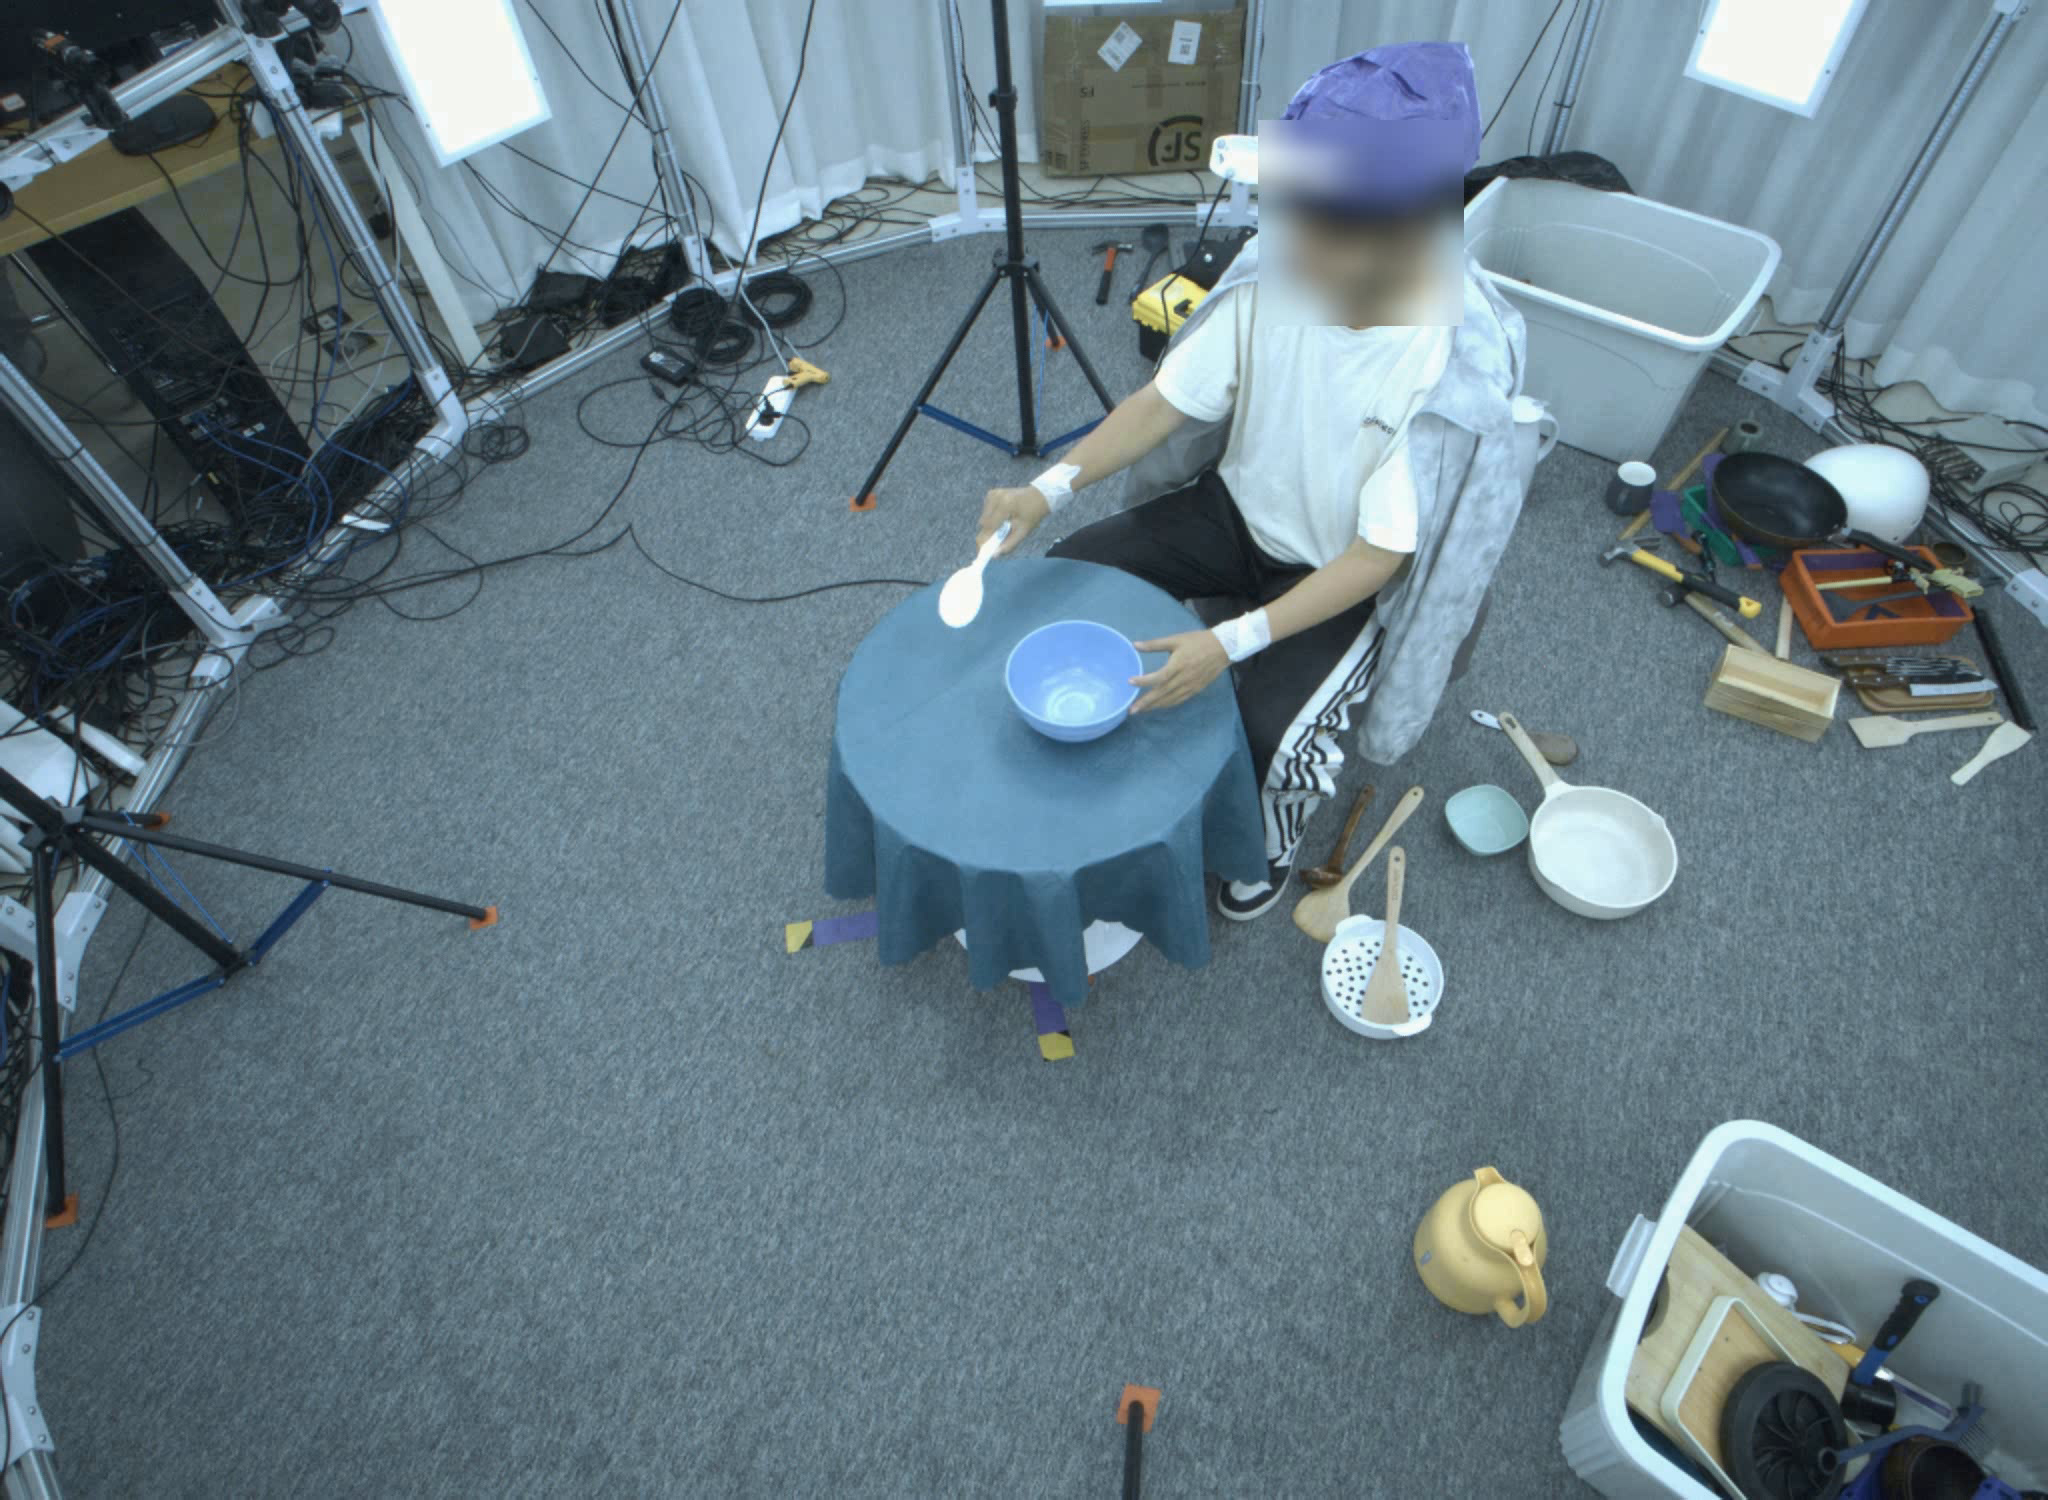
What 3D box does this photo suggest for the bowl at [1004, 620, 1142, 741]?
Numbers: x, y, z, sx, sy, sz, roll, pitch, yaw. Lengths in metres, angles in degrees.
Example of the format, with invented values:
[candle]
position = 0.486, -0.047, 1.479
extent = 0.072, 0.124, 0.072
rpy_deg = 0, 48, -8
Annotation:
[bowl]
position = 0.073, -0.086, 1.789
extent = 0.196, 0.096, 0.194
rpy_deg = -2, 55, 4

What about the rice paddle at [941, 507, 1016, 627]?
[rice paddle]
position = -0.069, -0.277, 1.854
extent = 0.029, 0.070, 0.205
rpy_deg = 6, 65, 51
